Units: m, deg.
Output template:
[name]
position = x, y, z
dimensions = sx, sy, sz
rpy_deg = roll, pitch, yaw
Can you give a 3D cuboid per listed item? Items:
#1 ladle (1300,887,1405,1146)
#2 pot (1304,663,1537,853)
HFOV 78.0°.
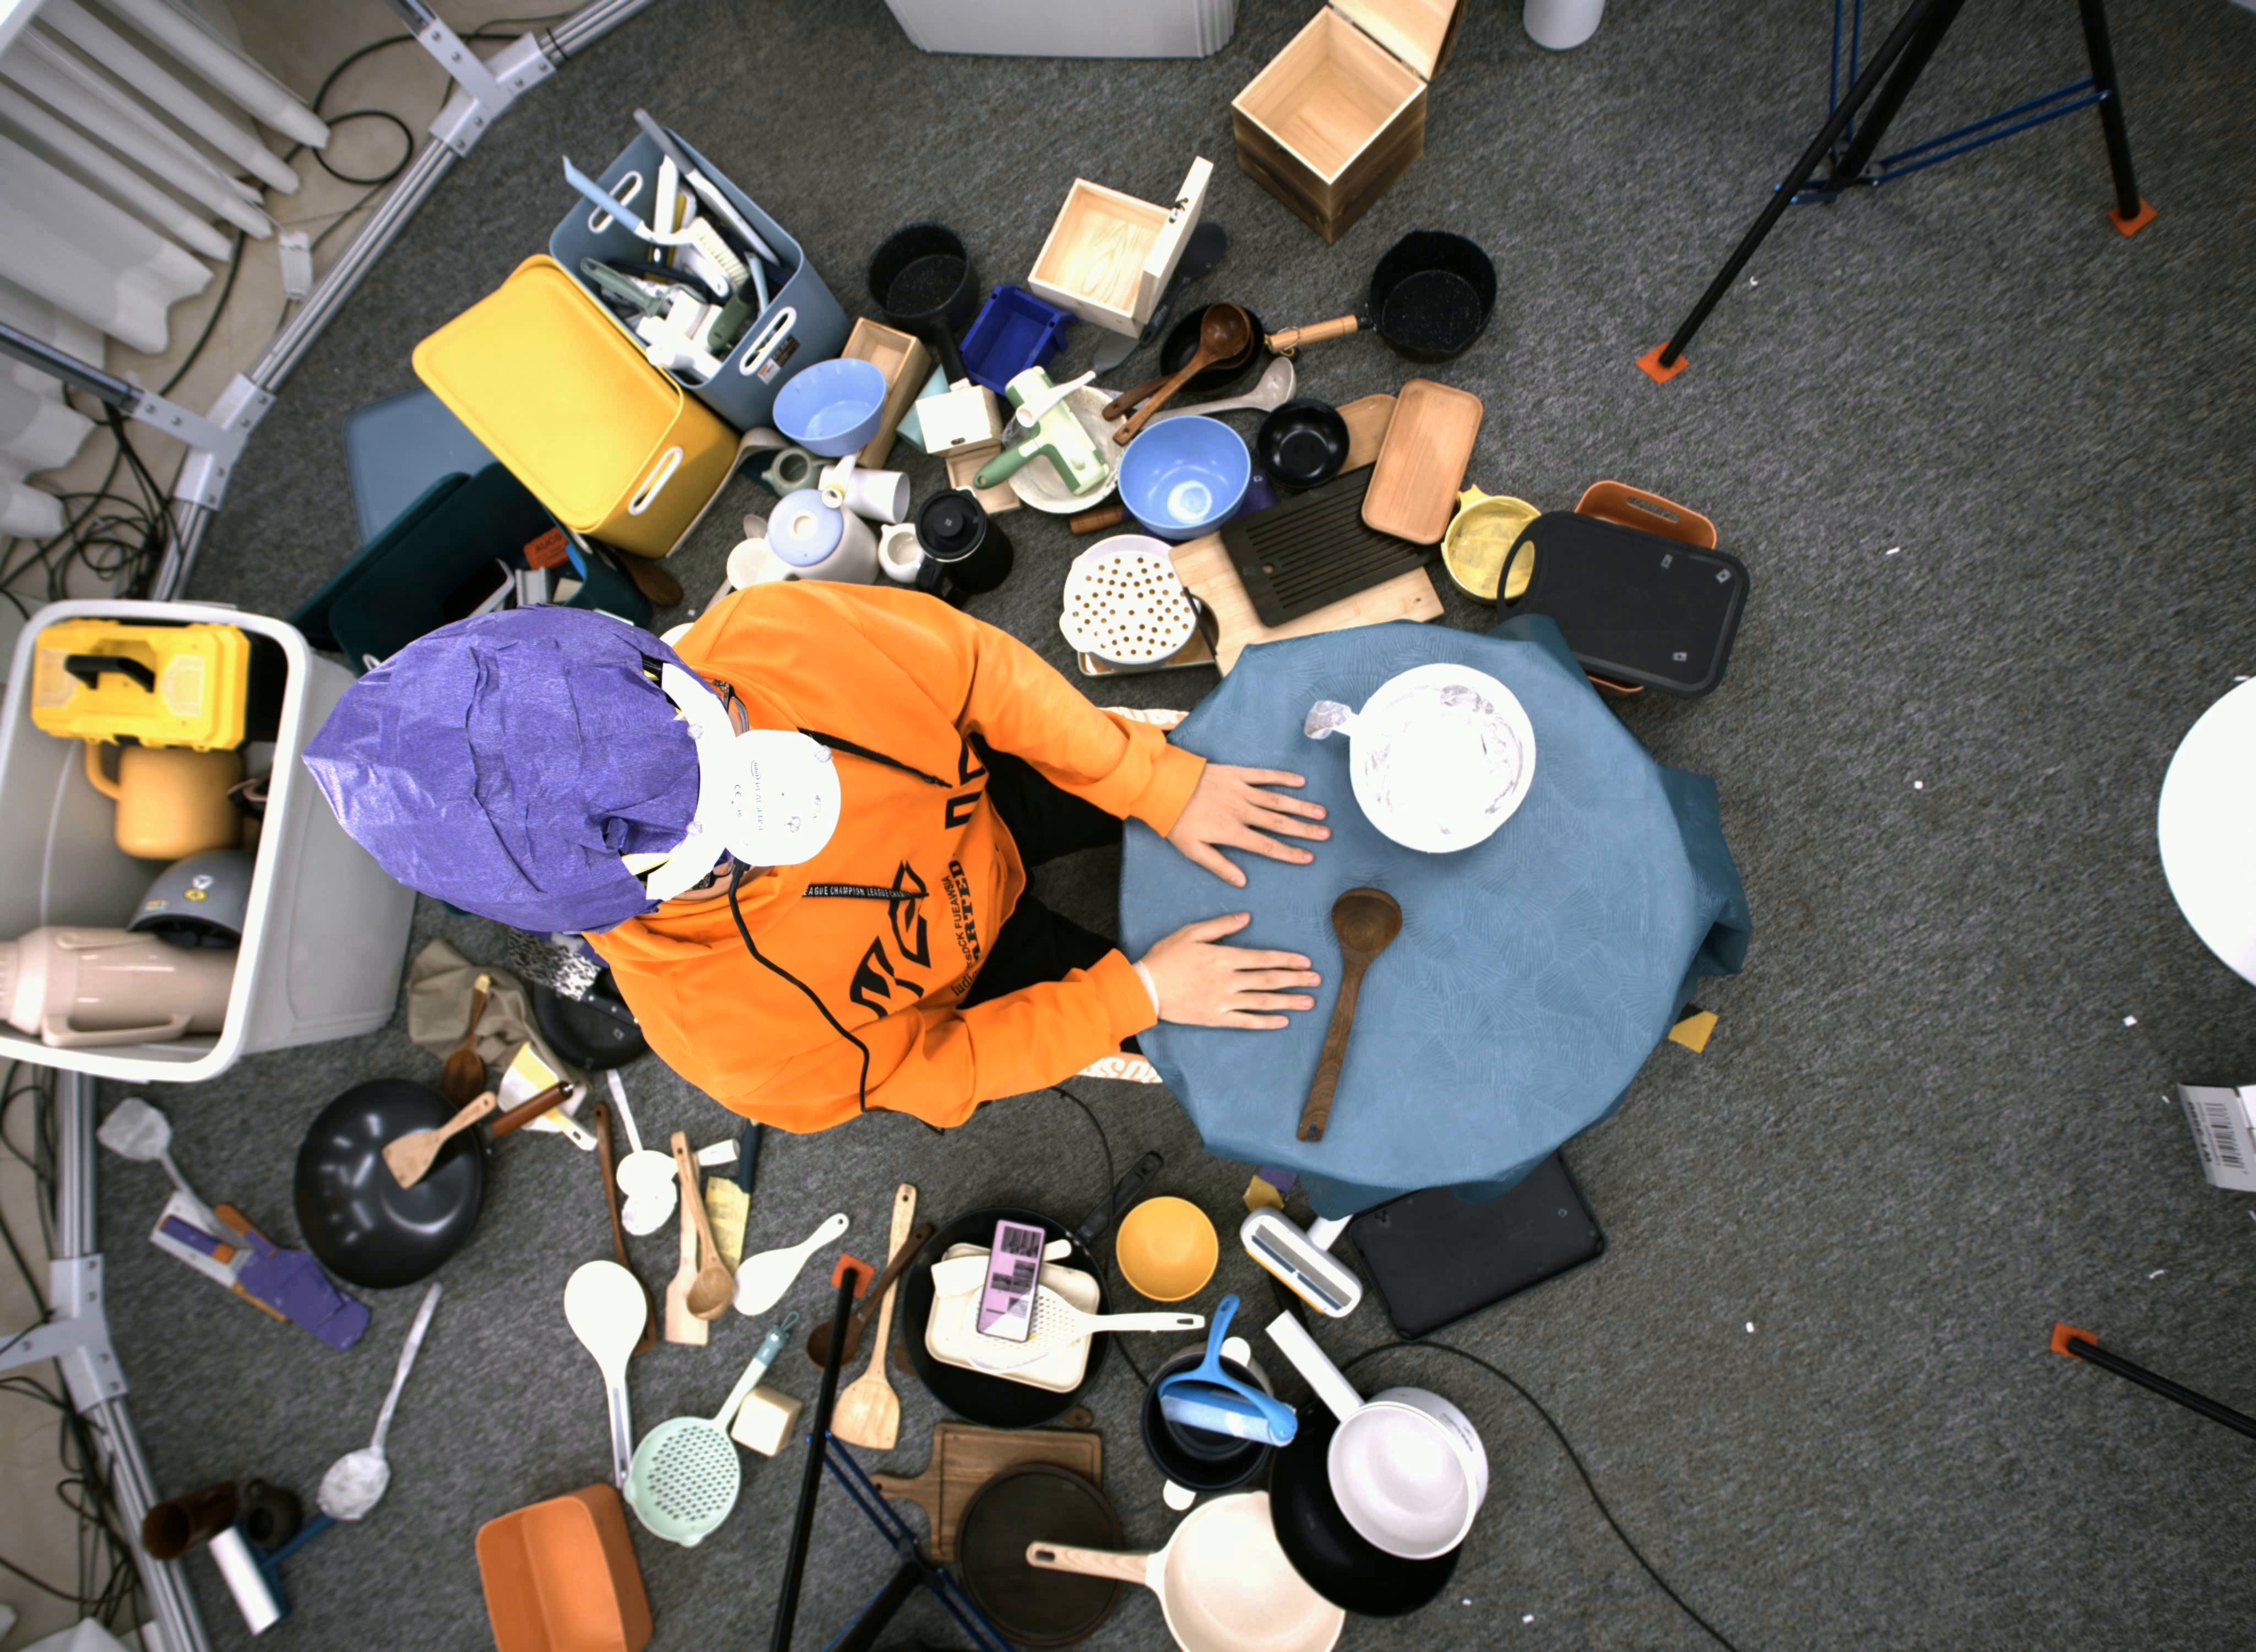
[ladle]
position = 0.221, 0.197, 1.427
dimensions = 0.076, 0.071, 0.273
rpy_deg = 15, 89, 13
[pot]
position = 0.289, -0.075, 1.395
dimensions = 0.234, 0.137, 0.178
rpy_deg = 21, 89, 11
